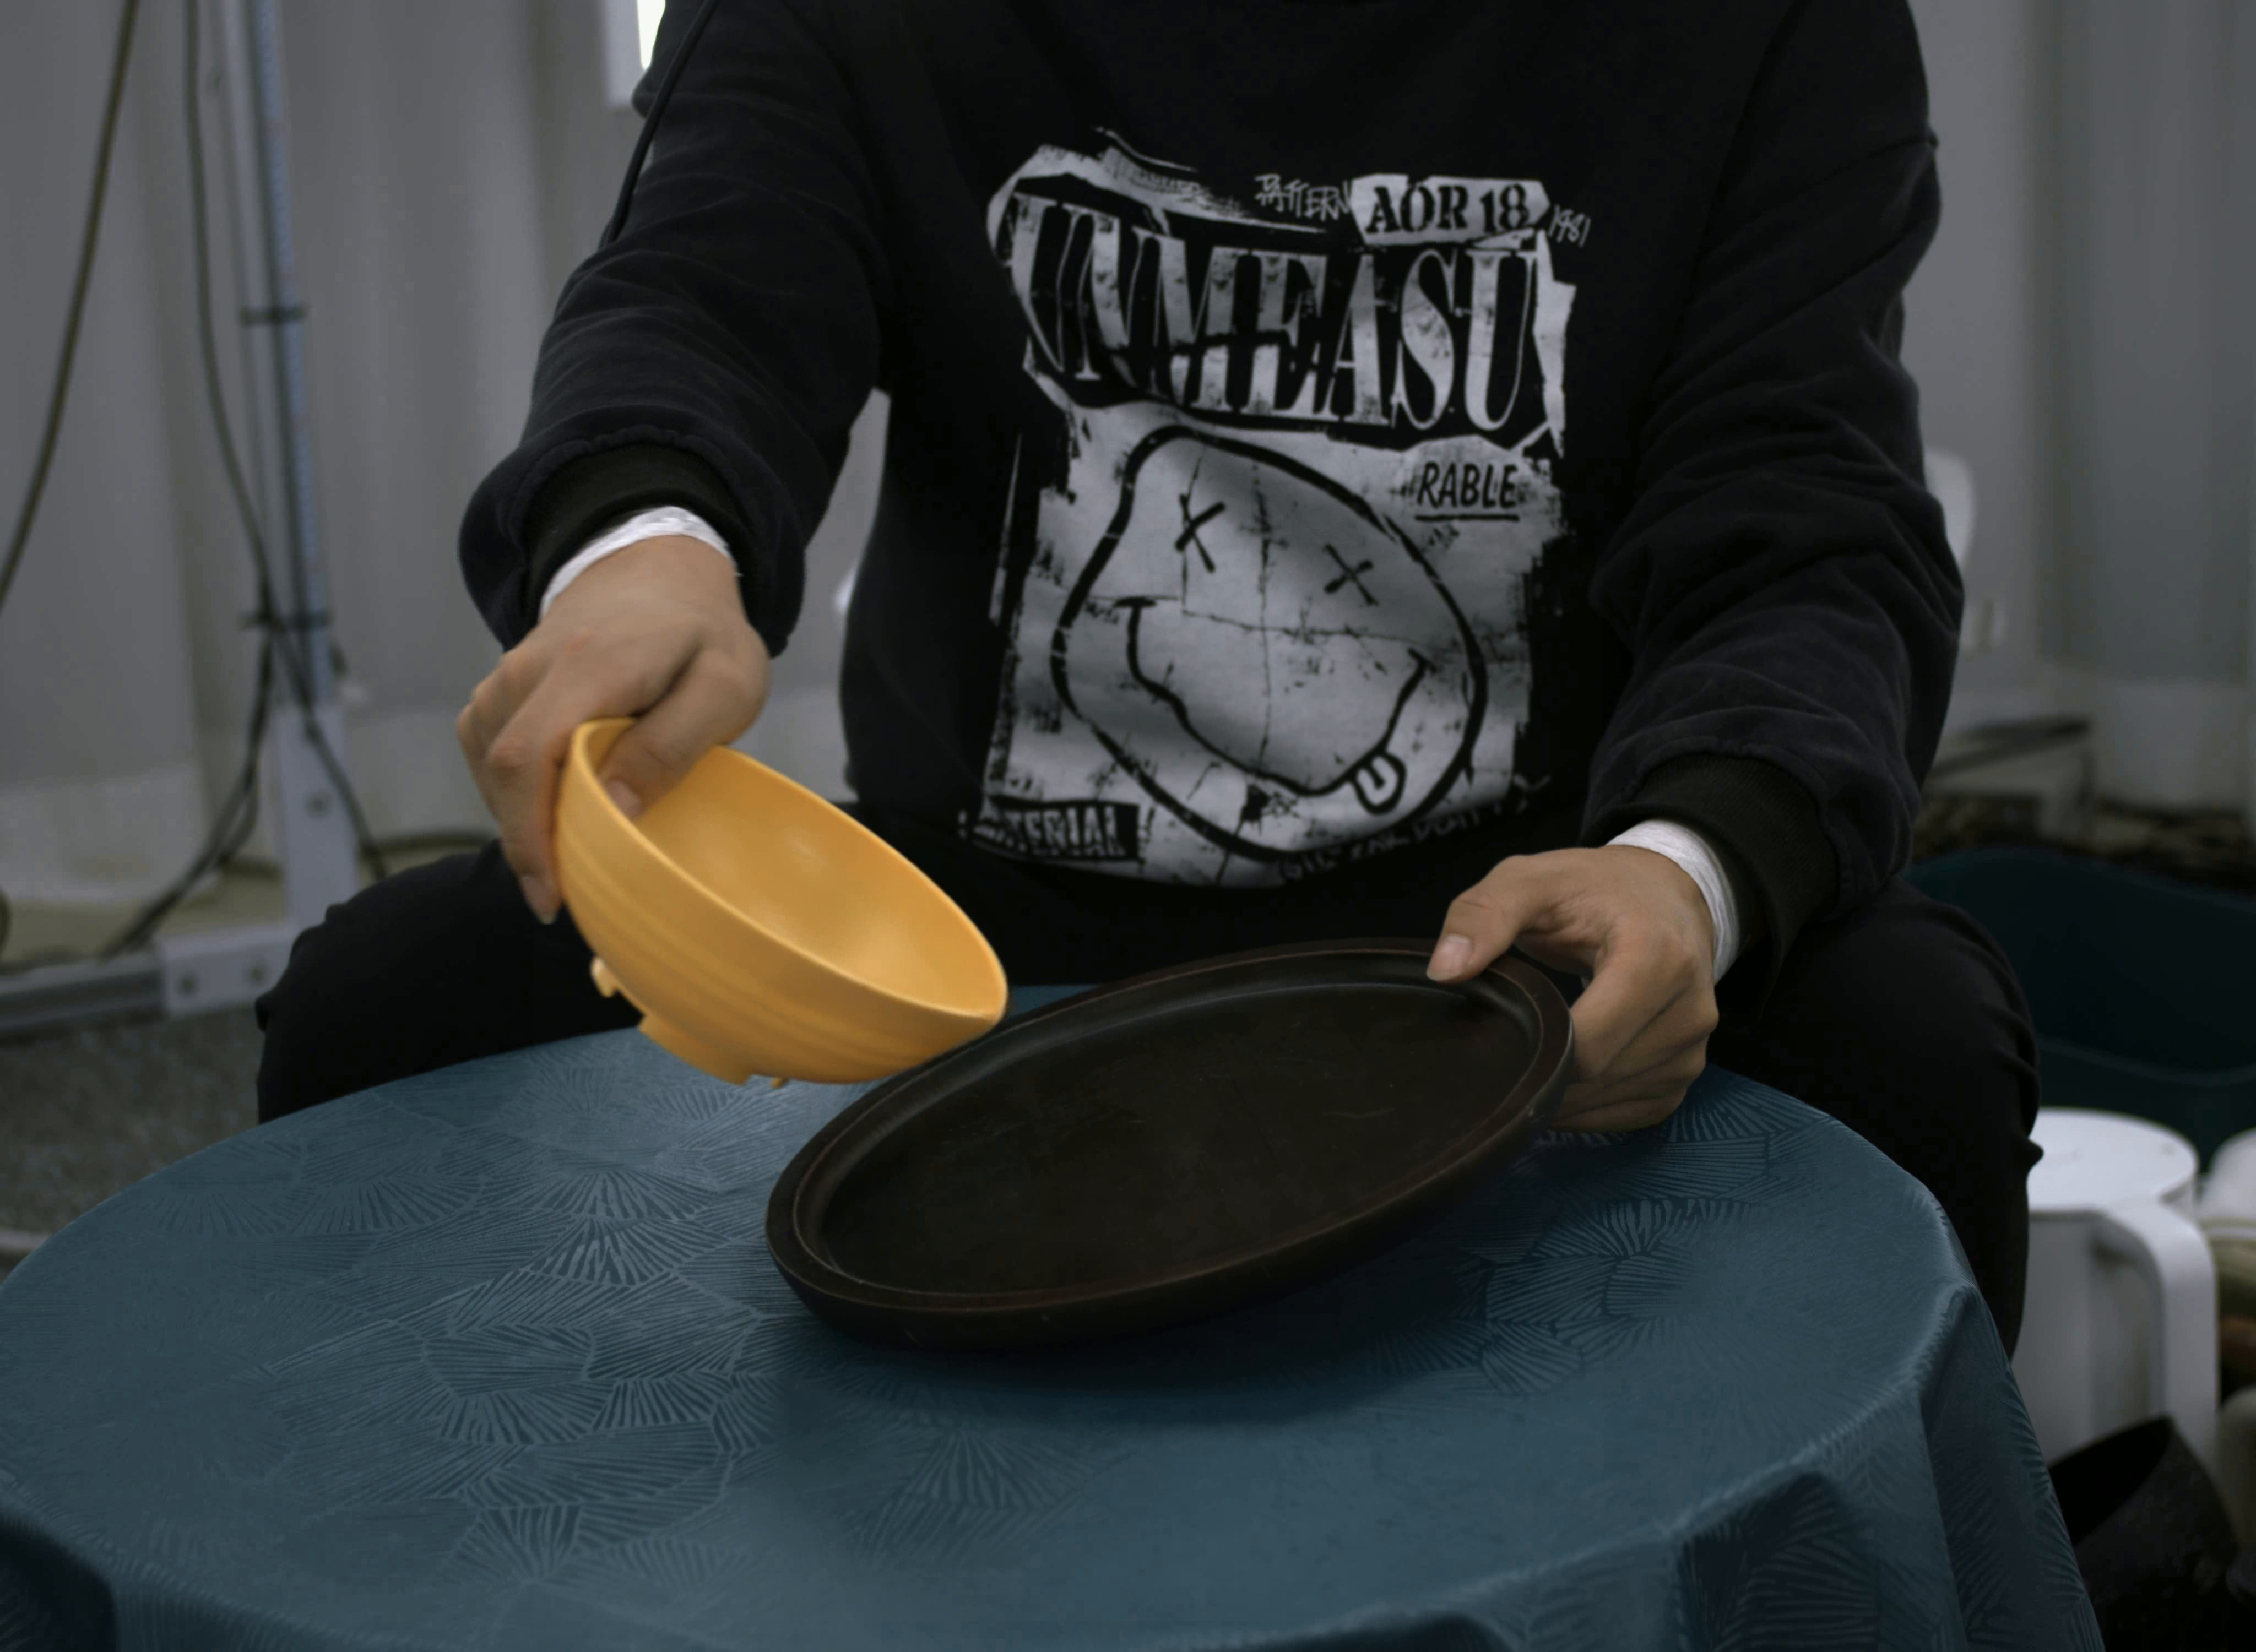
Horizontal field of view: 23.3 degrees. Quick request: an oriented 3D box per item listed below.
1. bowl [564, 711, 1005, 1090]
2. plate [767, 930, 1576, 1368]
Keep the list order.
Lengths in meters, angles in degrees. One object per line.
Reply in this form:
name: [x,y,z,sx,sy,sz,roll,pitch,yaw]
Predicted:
bowl: [-0.110,0.033,1.571,0.144,0.060,0.146,33,12,-8]
plate: [0.014,0.096,1.648,0.254,0.029,0.257,-16,18,5]
